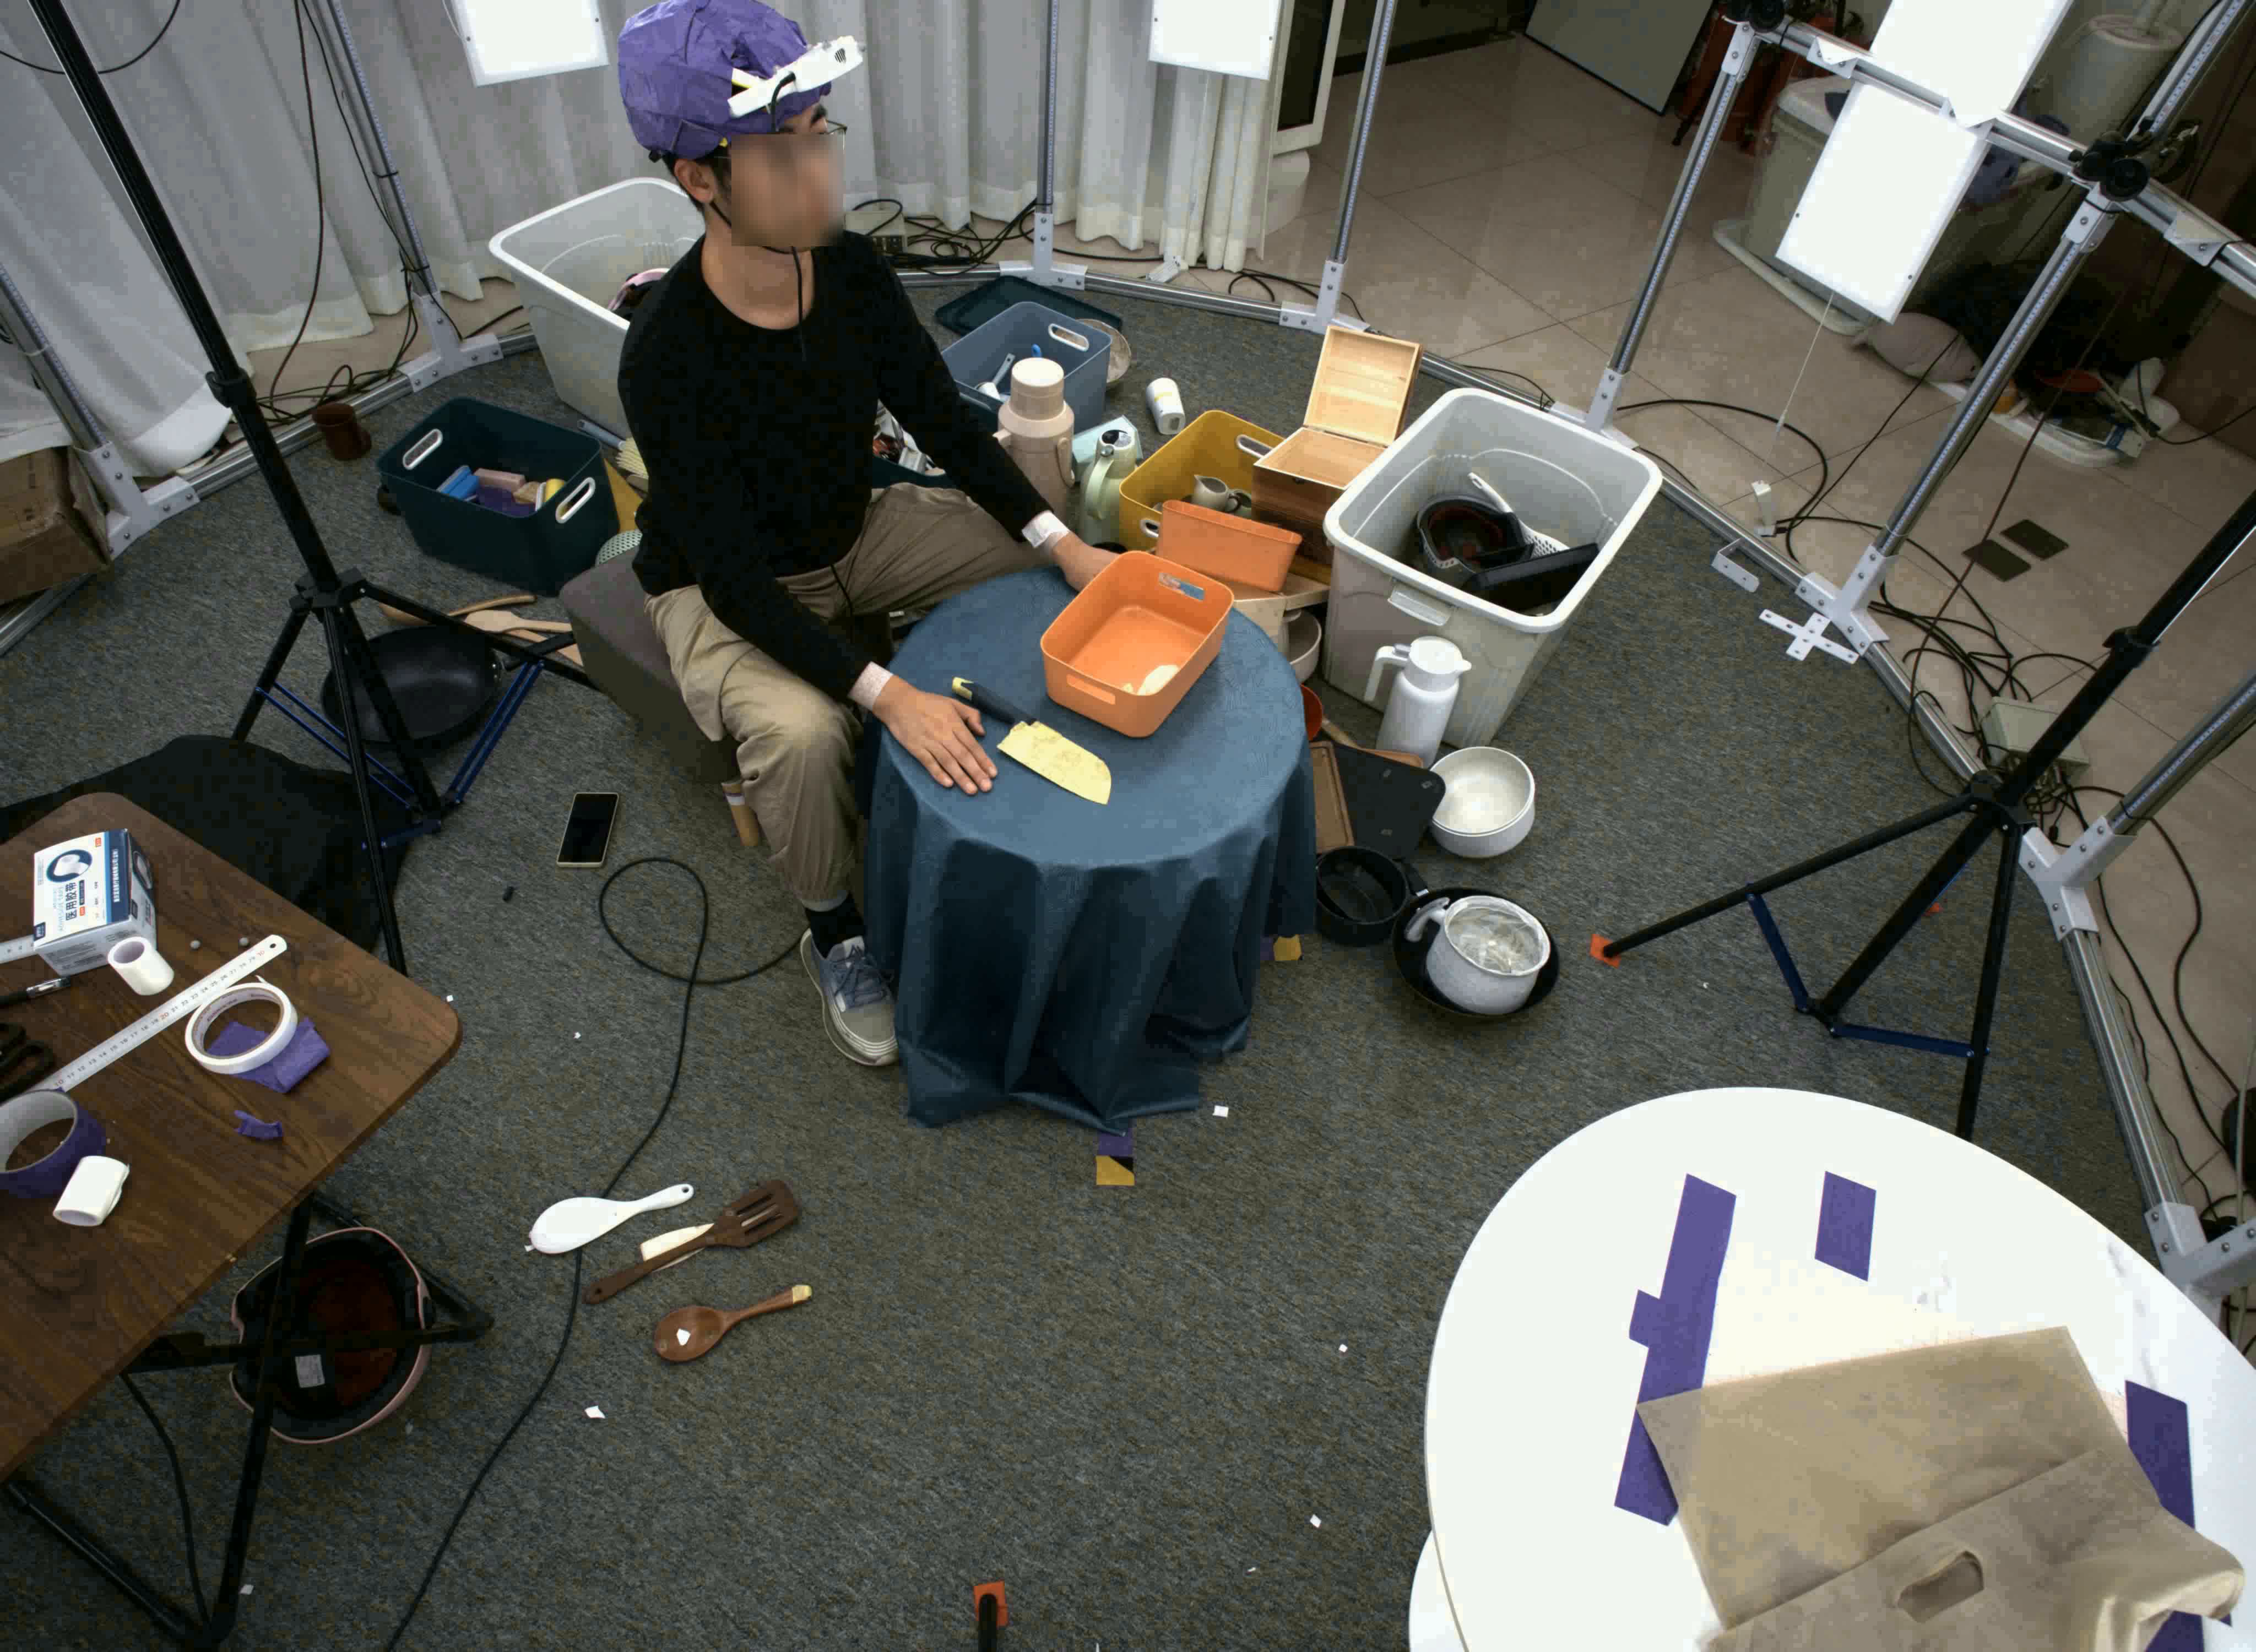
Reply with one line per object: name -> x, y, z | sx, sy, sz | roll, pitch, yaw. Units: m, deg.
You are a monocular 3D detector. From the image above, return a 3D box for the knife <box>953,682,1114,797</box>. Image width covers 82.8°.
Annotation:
knife -> -0.136, -0.118, 1.754 | 0.293, 0.026, 0.082 | 33, 53, 22

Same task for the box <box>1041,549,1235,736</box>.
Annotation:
box -> 0.012, -0.259, 1.829 | 0.201, 0.100, 0.277 | 26, 53, 16
